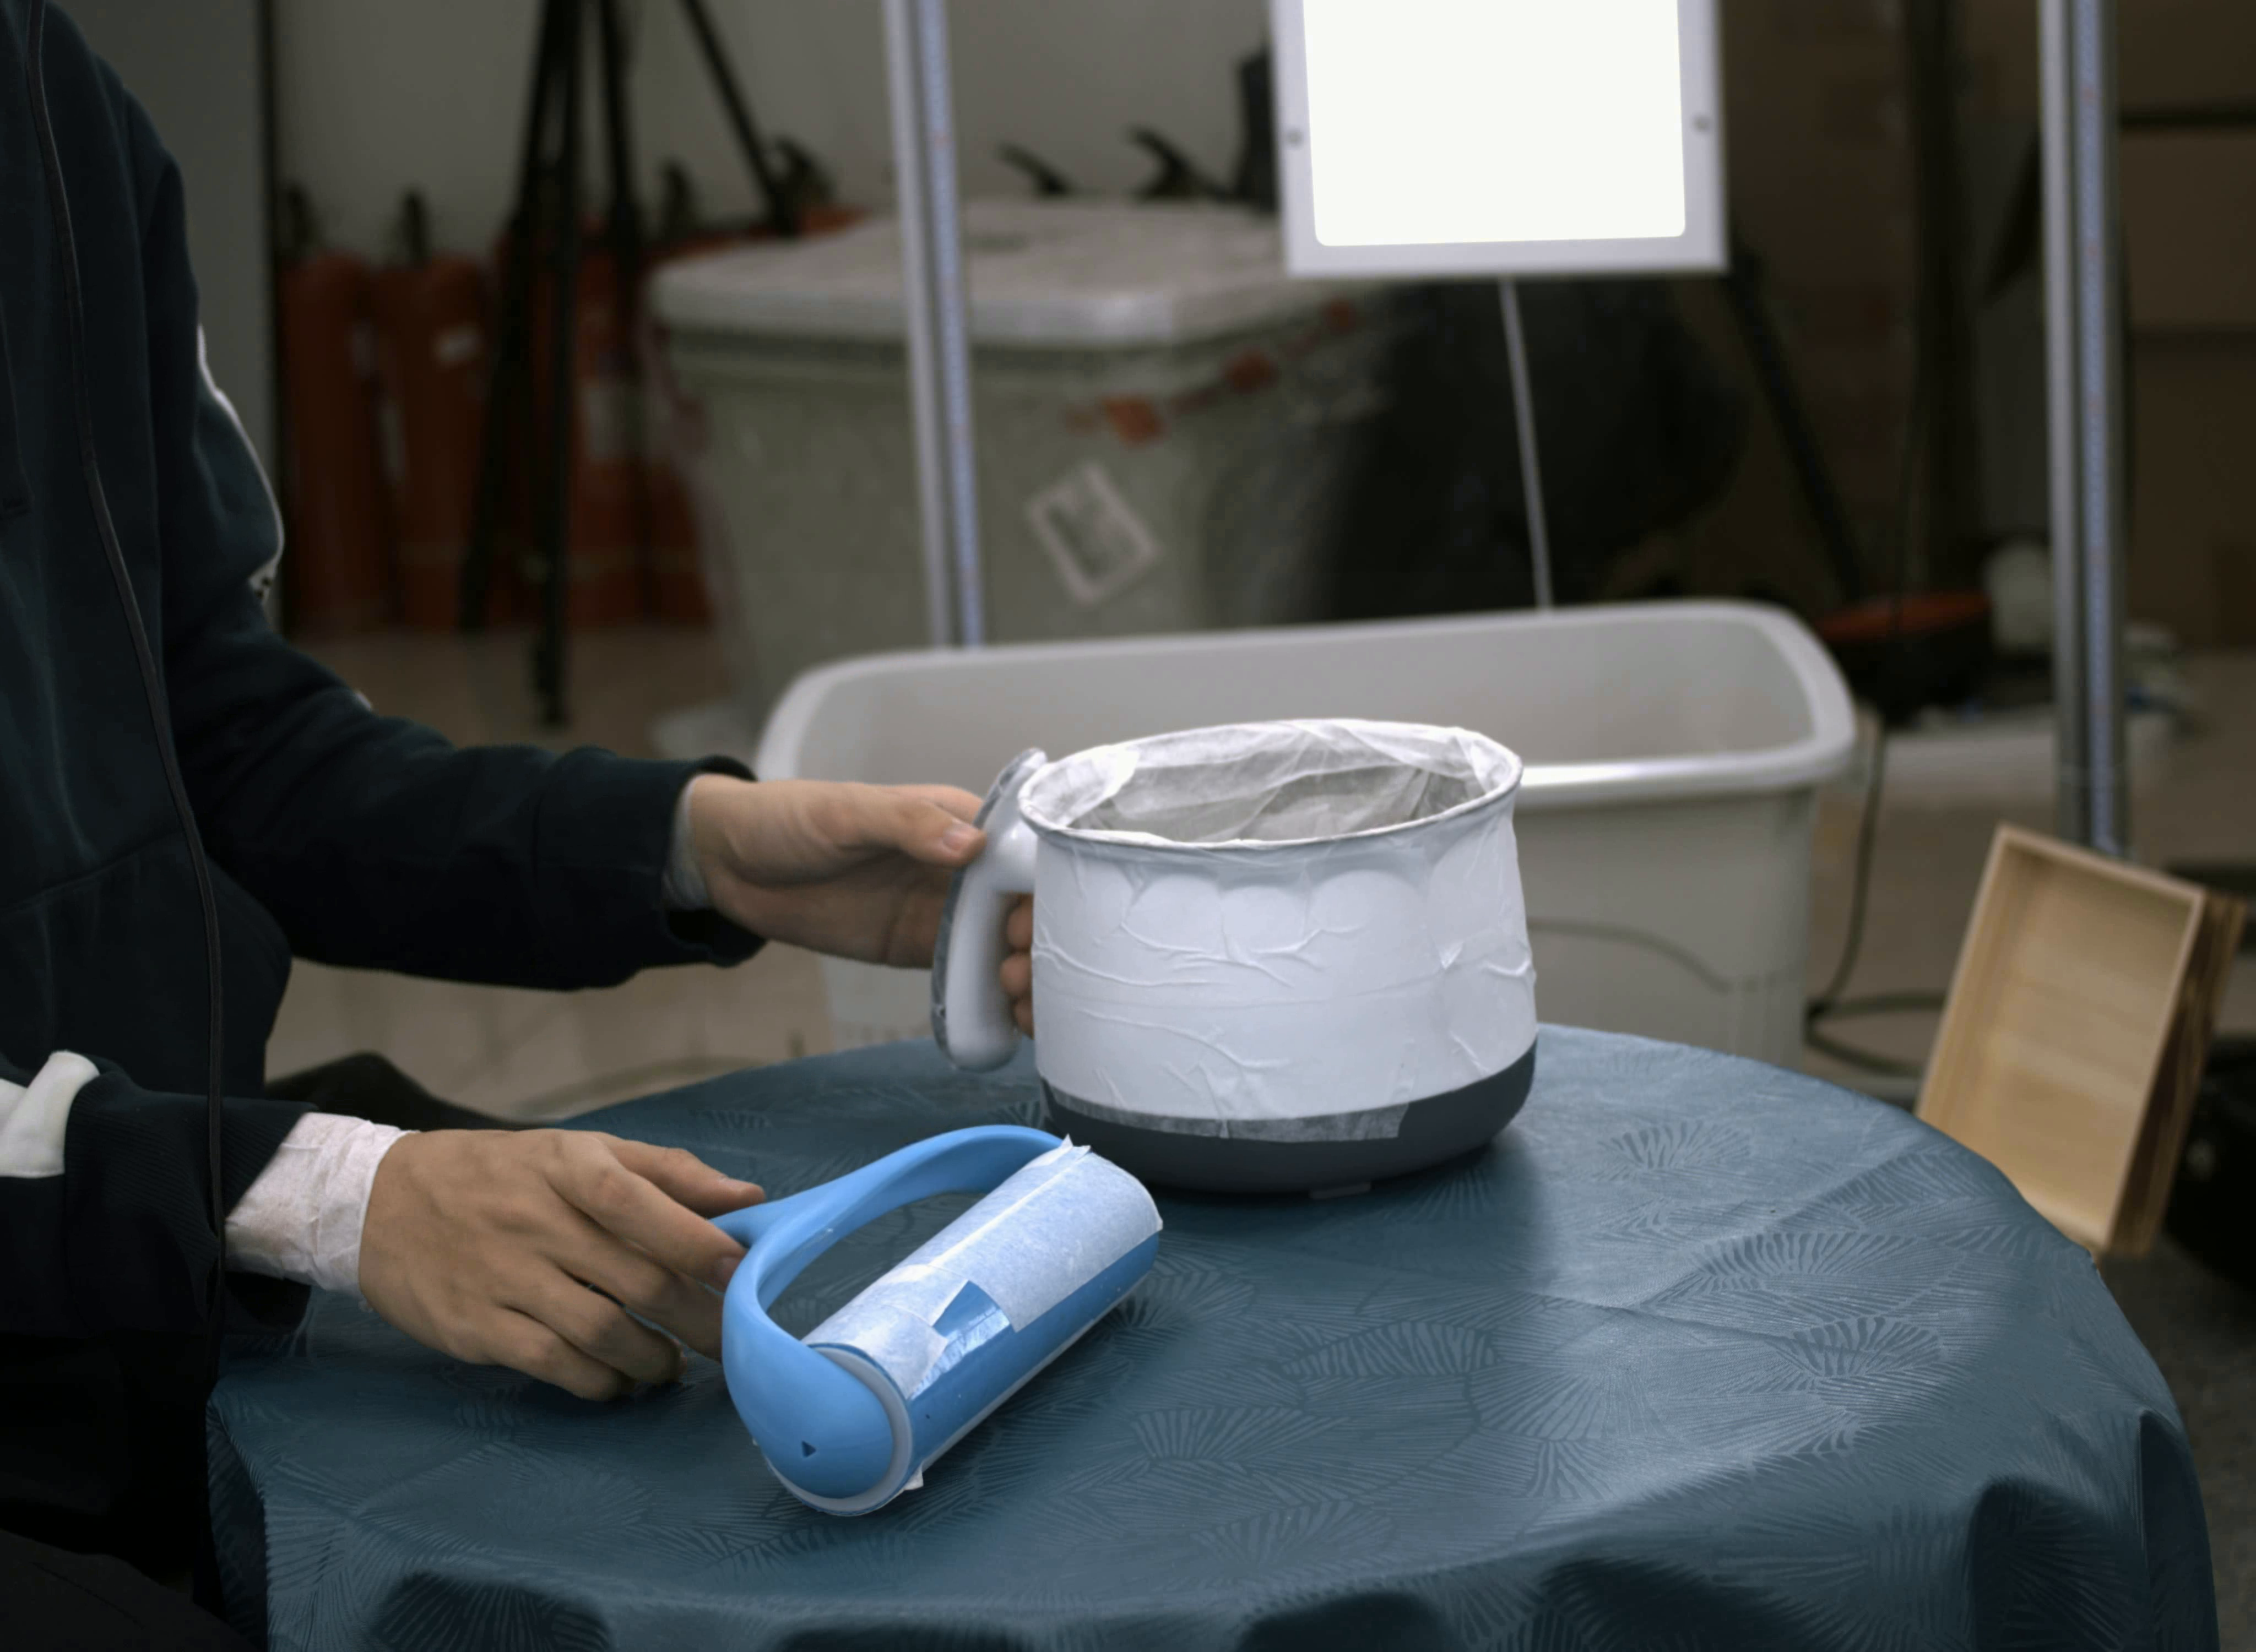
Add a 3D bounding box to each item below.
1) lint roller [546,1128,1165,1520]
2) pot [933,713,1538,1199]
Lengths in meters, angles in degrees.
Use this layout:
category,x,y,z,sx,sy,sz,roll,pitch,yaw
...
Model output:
category,x,y,z,sx,sy,sz,roll,pitch,yaw
lint roller,-0.102,0.151,1.715,0.182,0.068,0.225,1,17,20
pot,0.031,0.041,1.933,0.238,0.137,0.174,6,17,33
